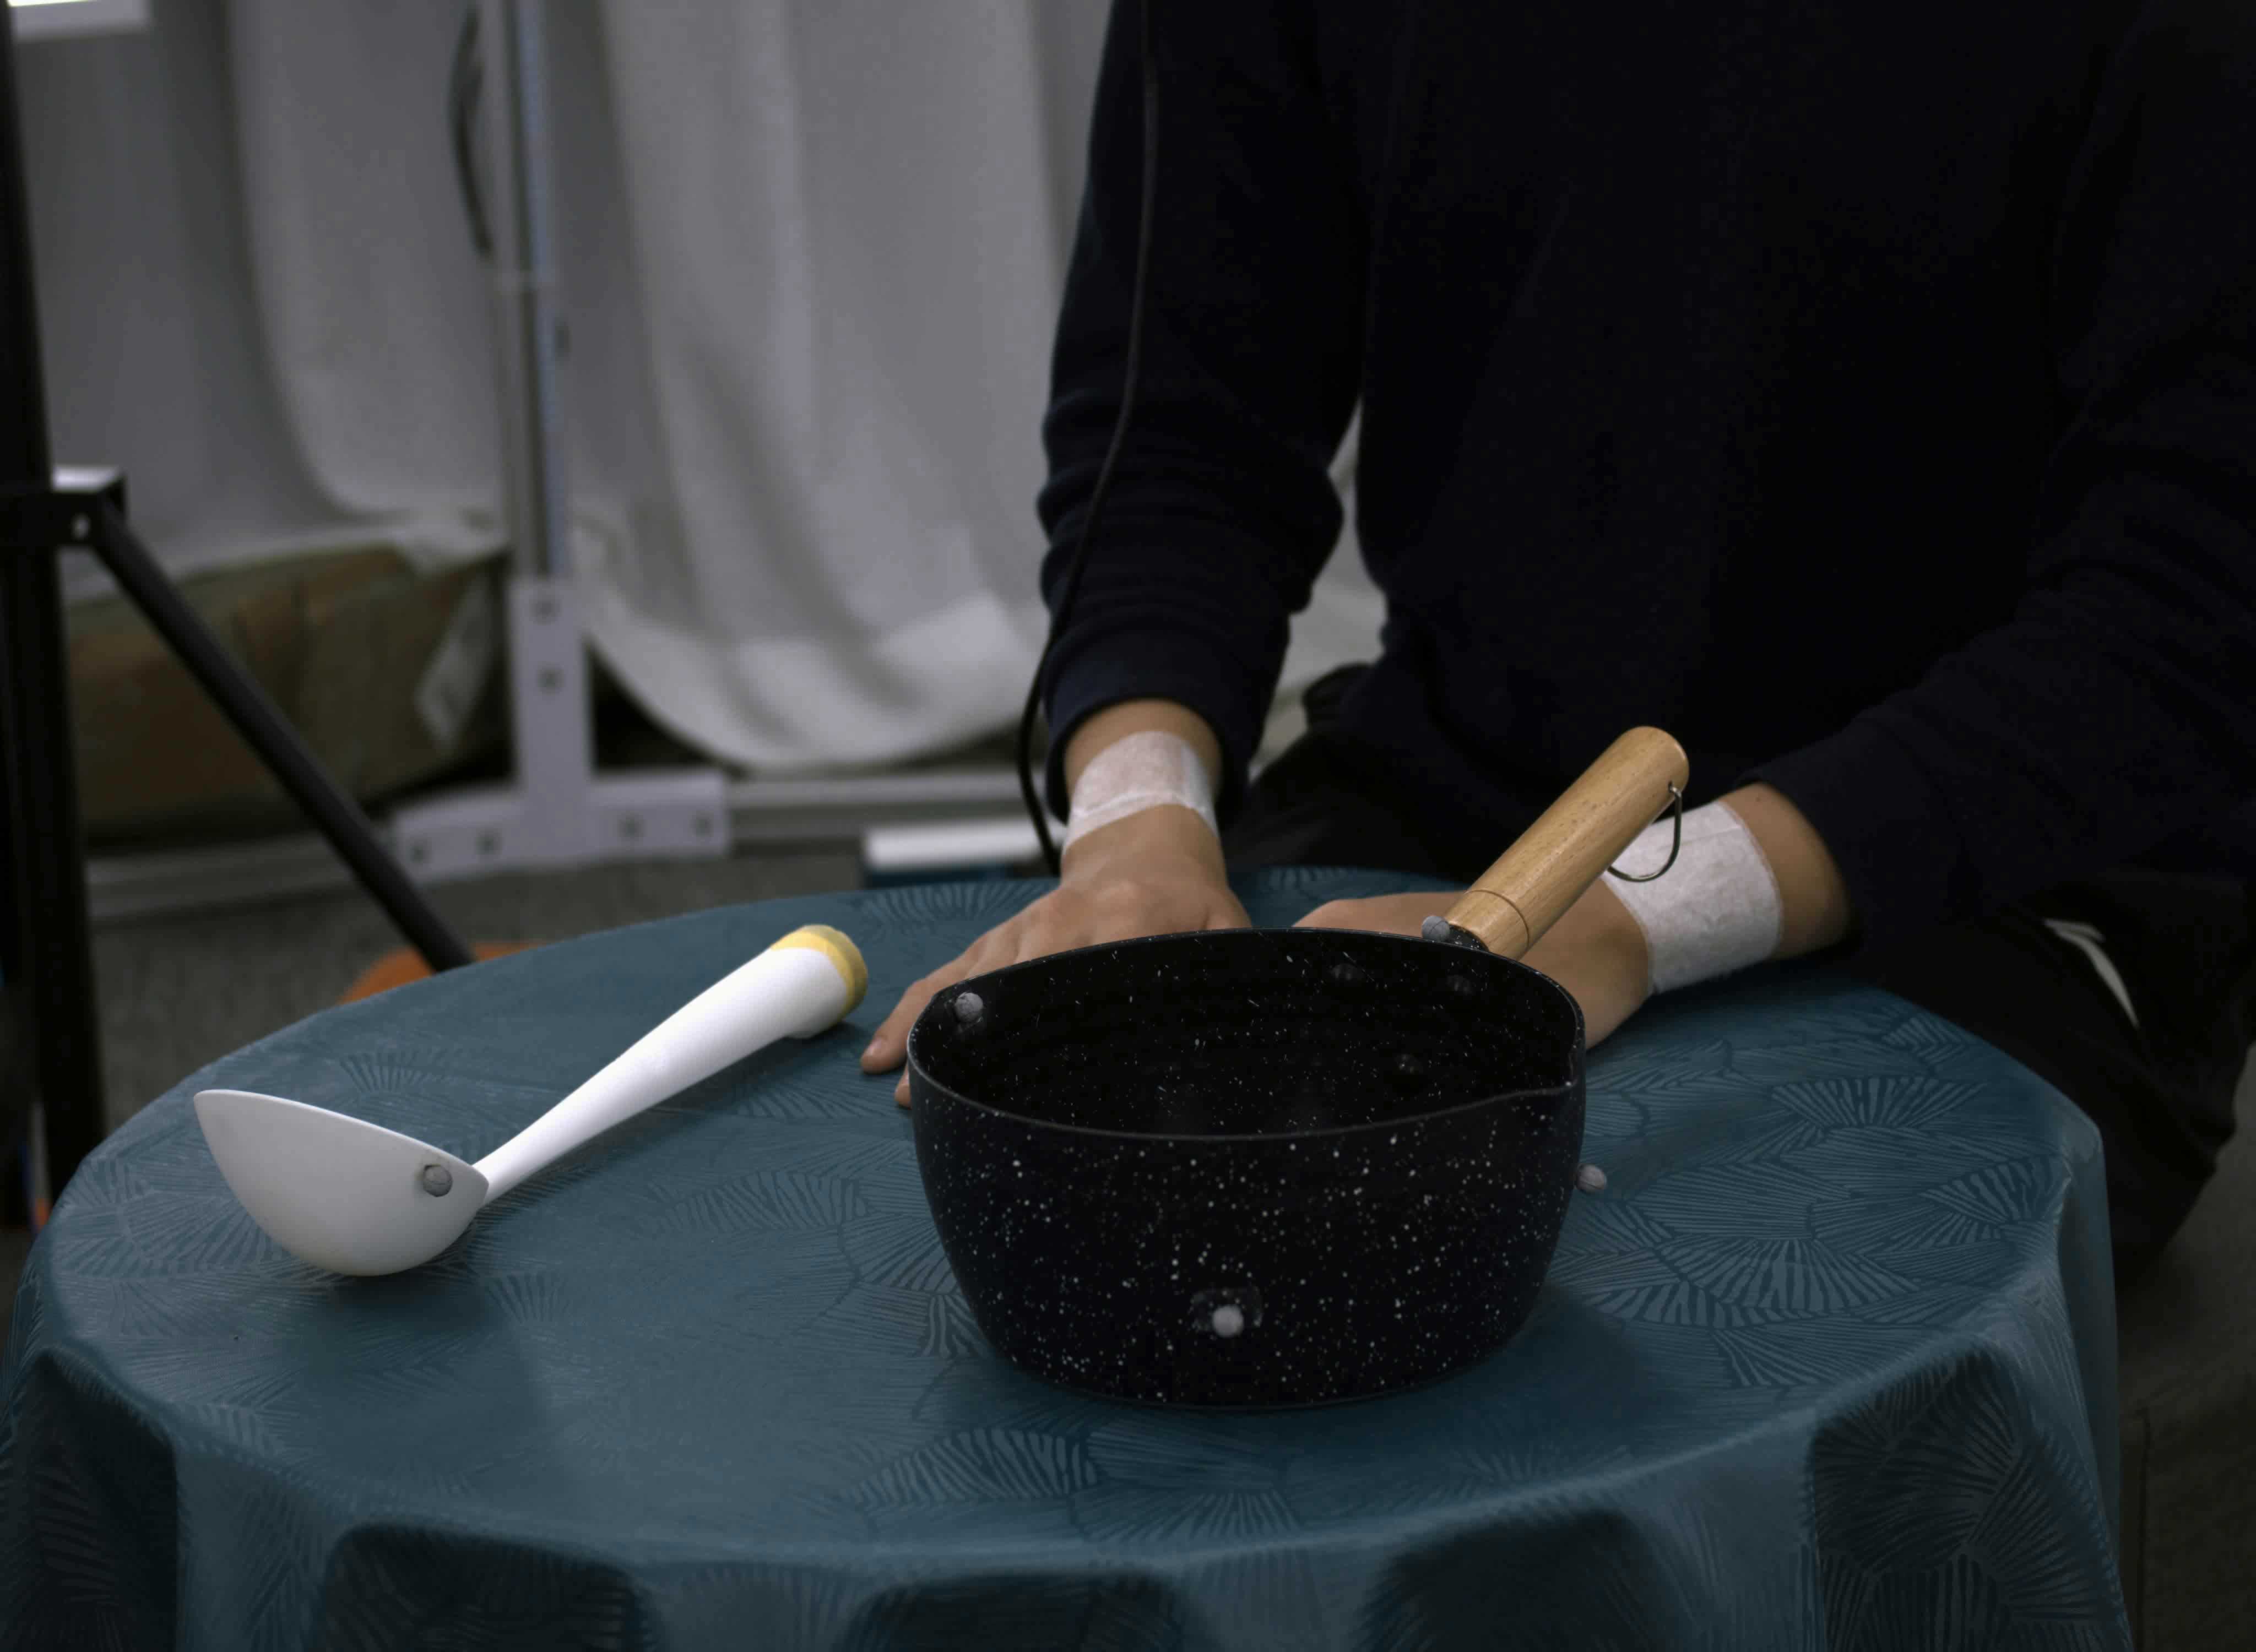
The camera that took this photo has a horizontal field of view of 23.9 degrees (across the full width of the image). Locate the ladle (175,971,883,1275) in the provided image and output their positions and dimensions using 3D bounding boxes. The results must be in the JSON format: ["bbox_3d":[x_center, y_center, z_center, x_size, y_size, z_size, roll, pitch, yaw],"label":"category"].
[{"bbox_3d":[-0.168,0.074,1.607,0.092,0.070,0.287,2,13,33],"label":"ladle"}]

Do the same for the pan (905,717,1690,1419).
[{"bbox_3d":[0.074,0.063,1.505,0.211,0.108,0.336,6,19,31],"label":"pan"}]
